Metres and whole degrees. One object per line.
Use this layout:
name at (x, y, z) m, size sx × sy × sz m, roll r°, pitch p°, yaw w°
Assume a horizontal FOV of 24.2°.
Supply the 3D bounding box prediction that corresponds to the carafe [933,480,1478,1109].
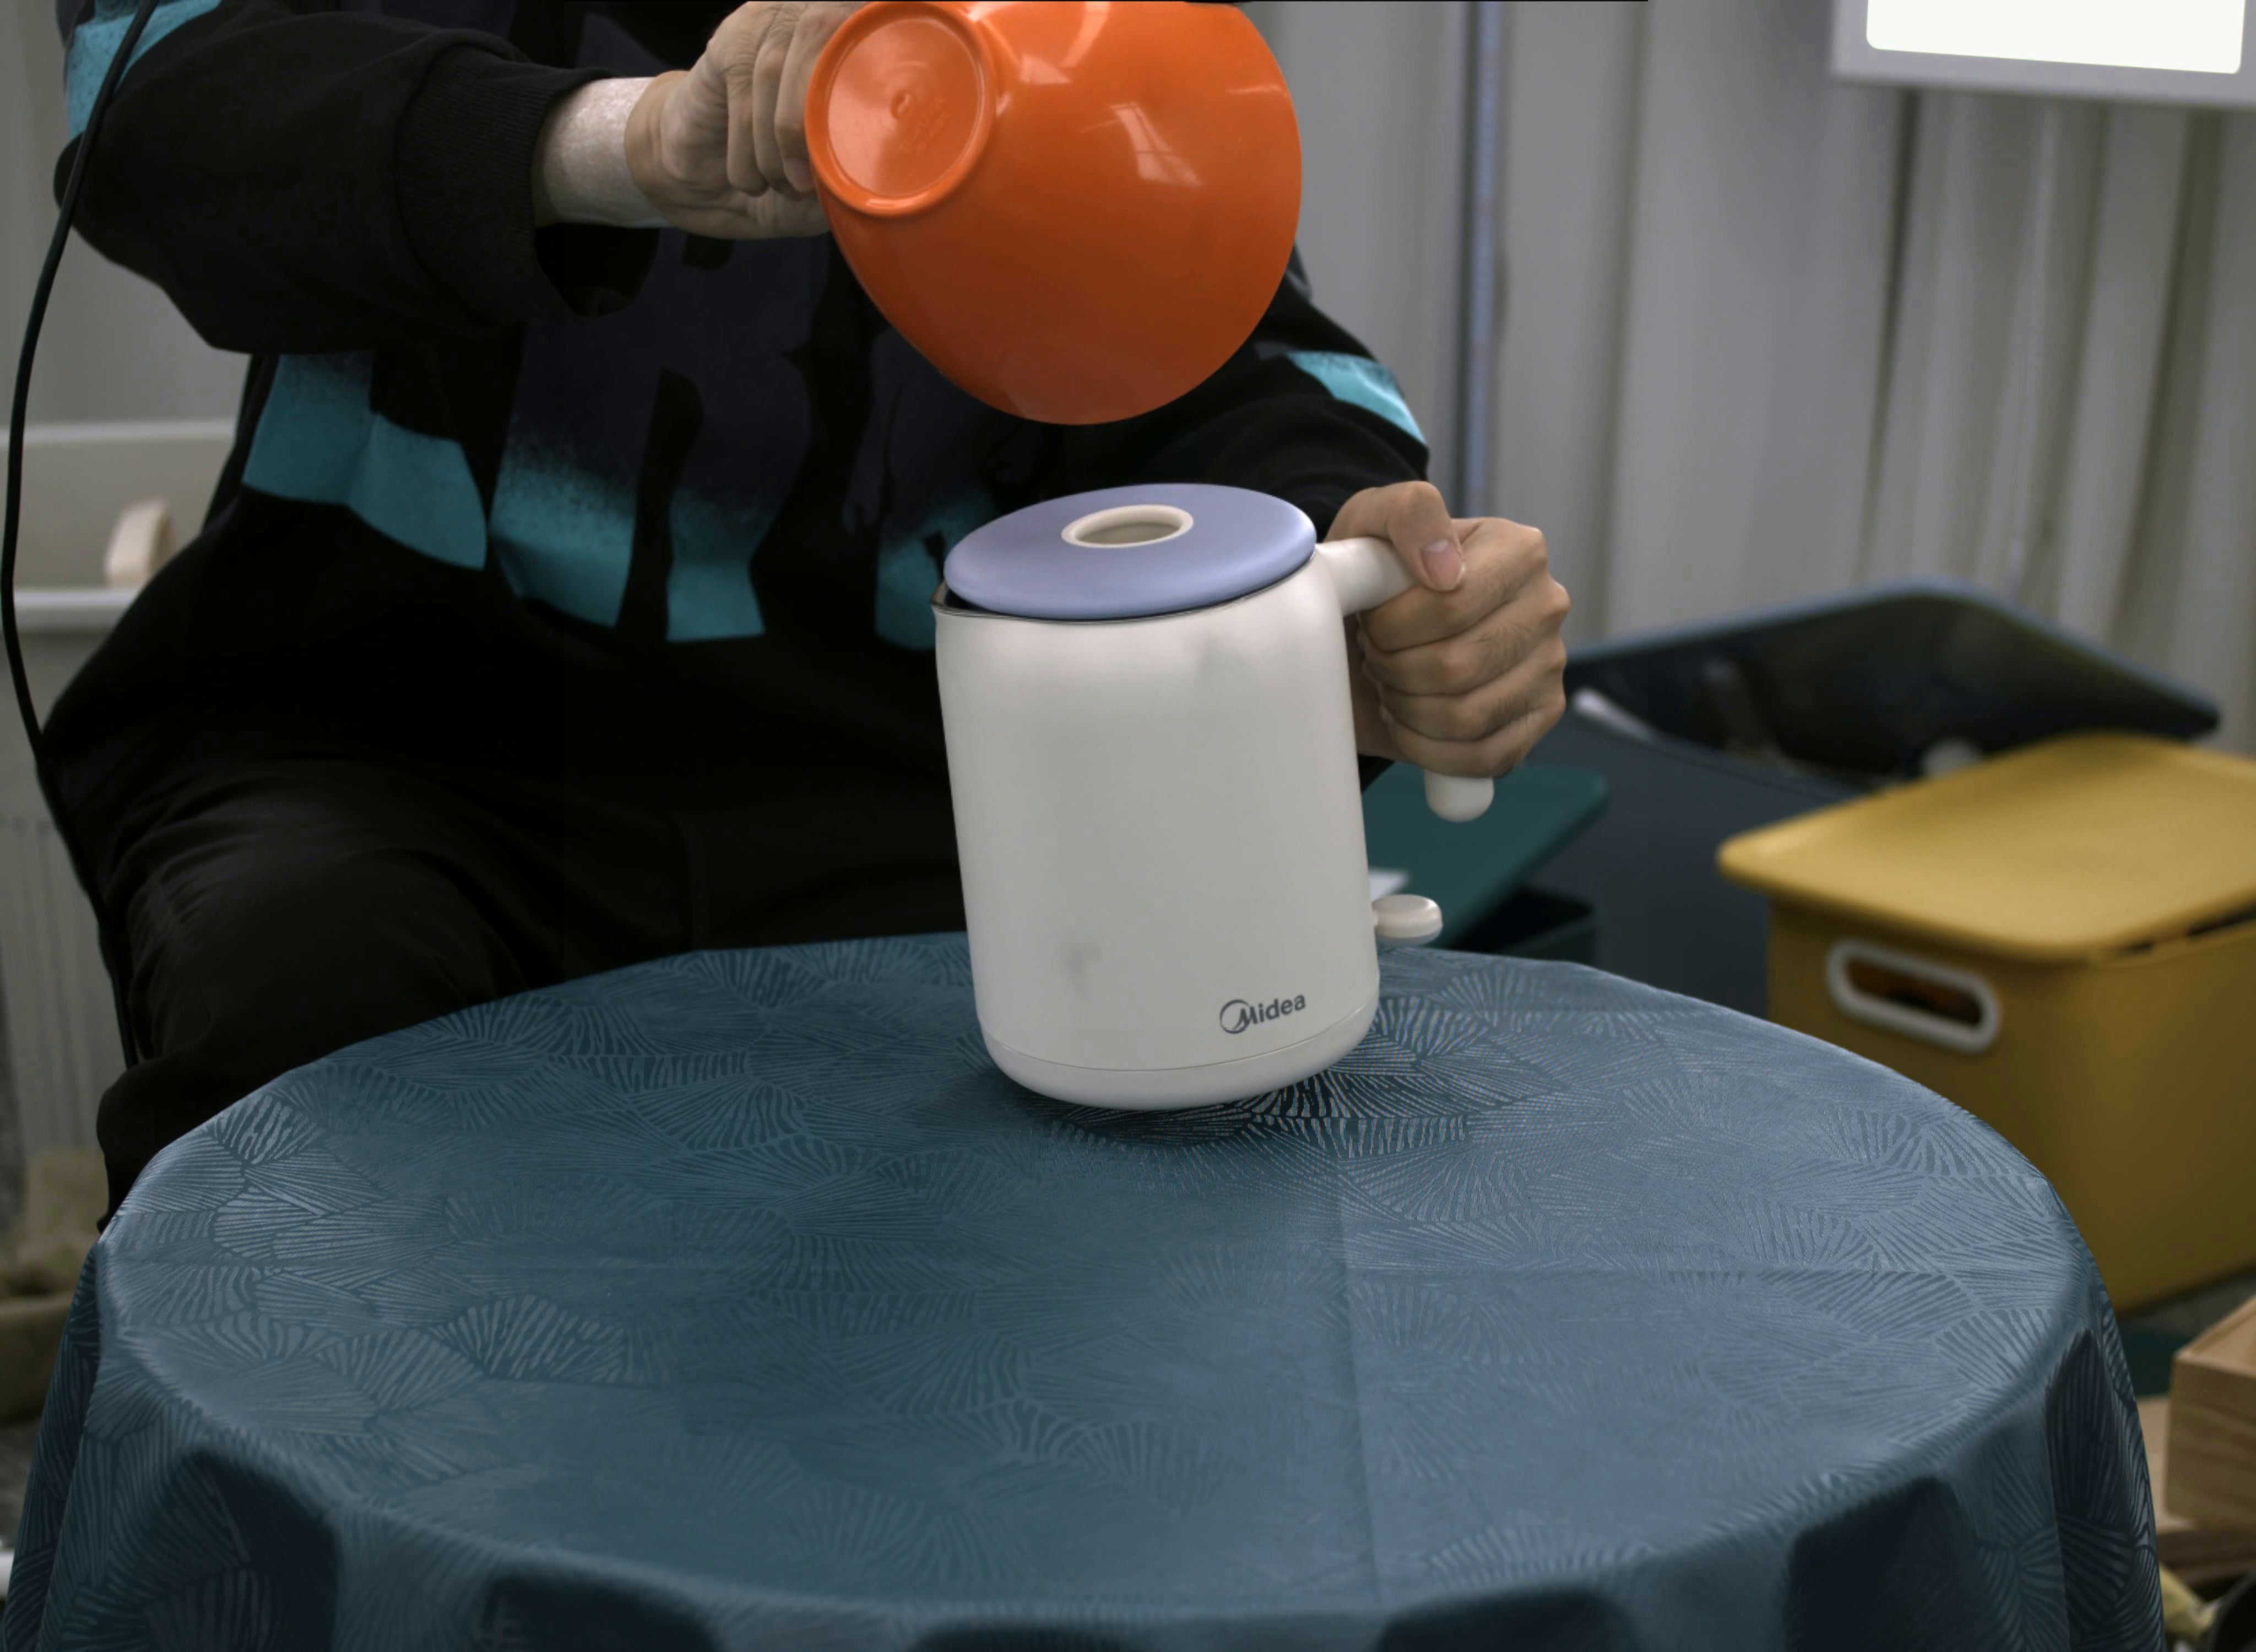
carafe at (0.030, -0.016, 1.693) m, size 0.191 × 0.184 × 0.130 m, roll -13°, pitch 23°, yaw -25°

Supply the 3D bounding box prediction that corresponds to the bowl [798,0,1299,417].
bowl at (-0.036, -0.204, 1.576) m, size 0.146 × 0.148 × 0.105 m, roll 10°, pitch 0°, yaw 30°
